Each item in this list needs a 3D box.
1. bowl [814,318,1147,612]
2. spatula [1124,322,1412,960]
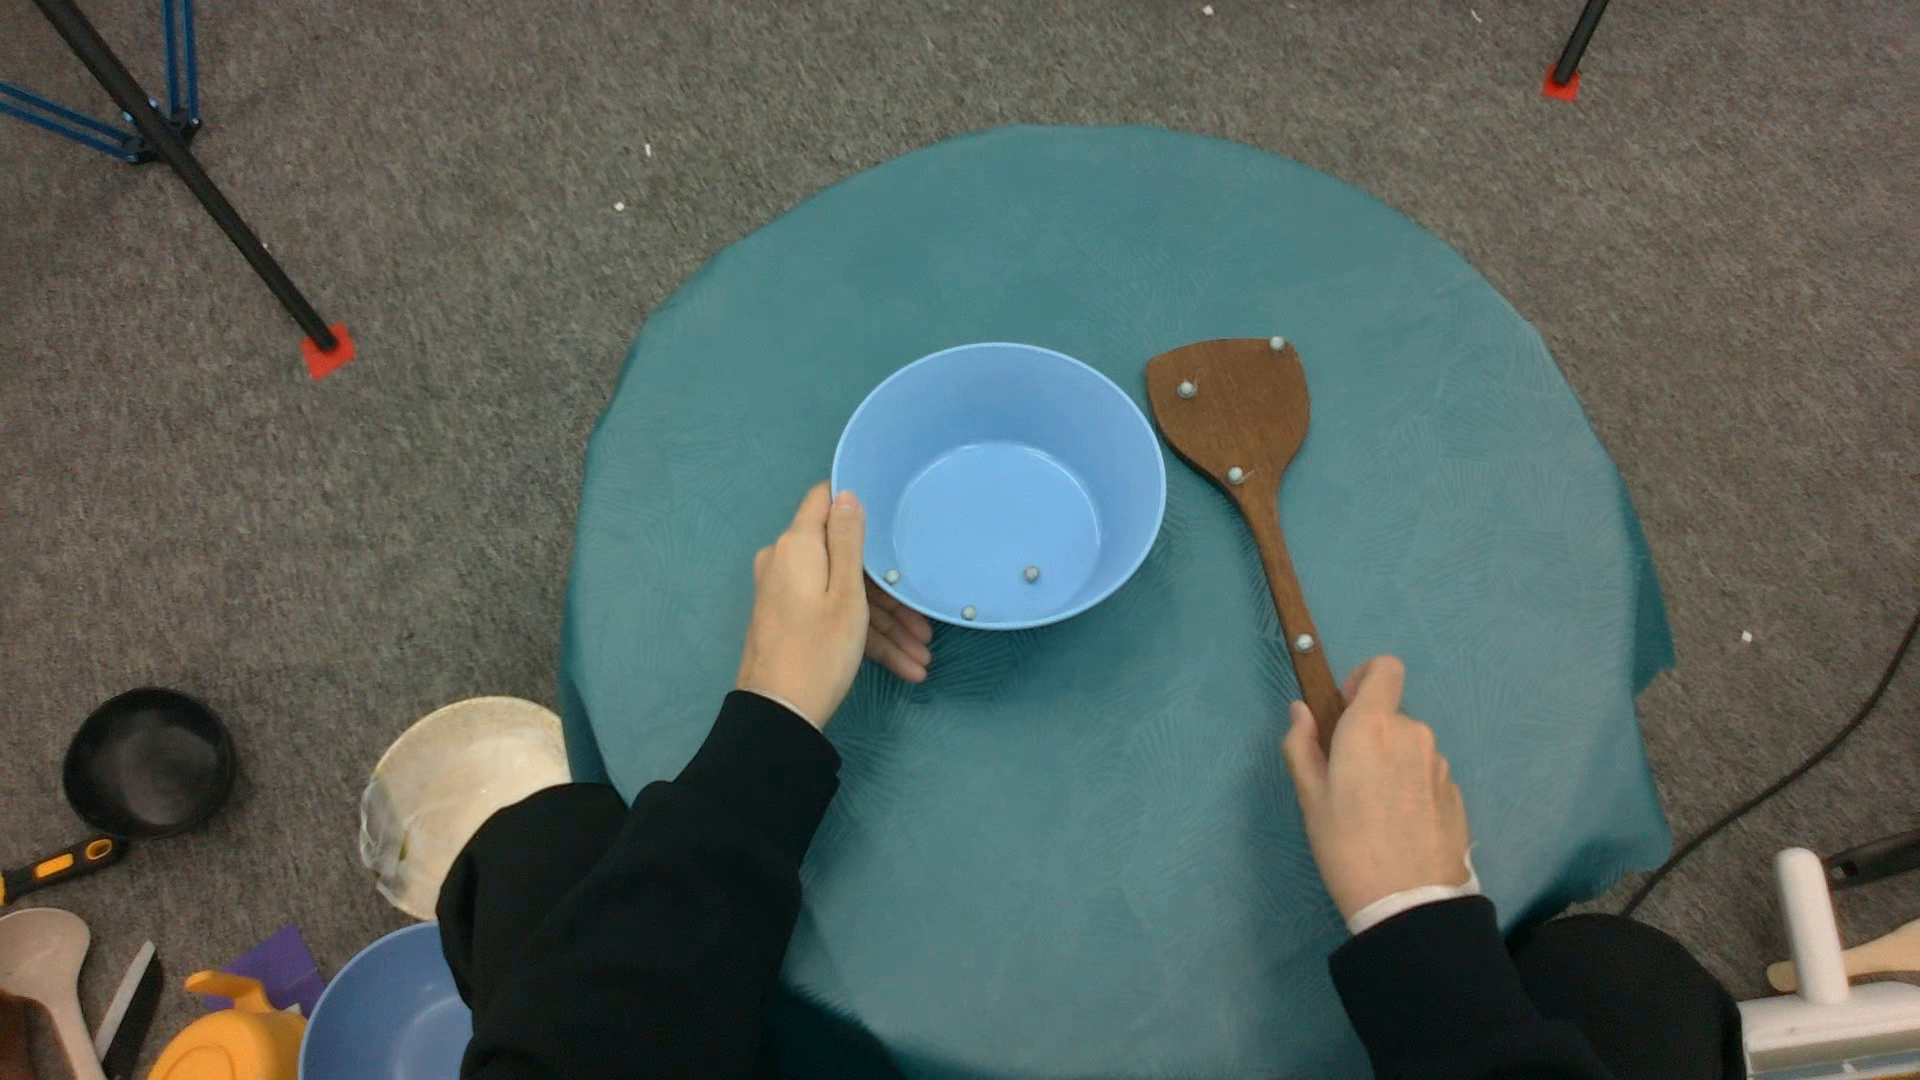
[{"bbox_3d":[0.011,-0.030,0.750,0.176,0.070,0.176,0,63,0],"label":"bowl"},{"bbox_3d":[0.170,0.031,0.734,0.096,0.016,0.387,-8,57,-3],"label":"spatula"}]
